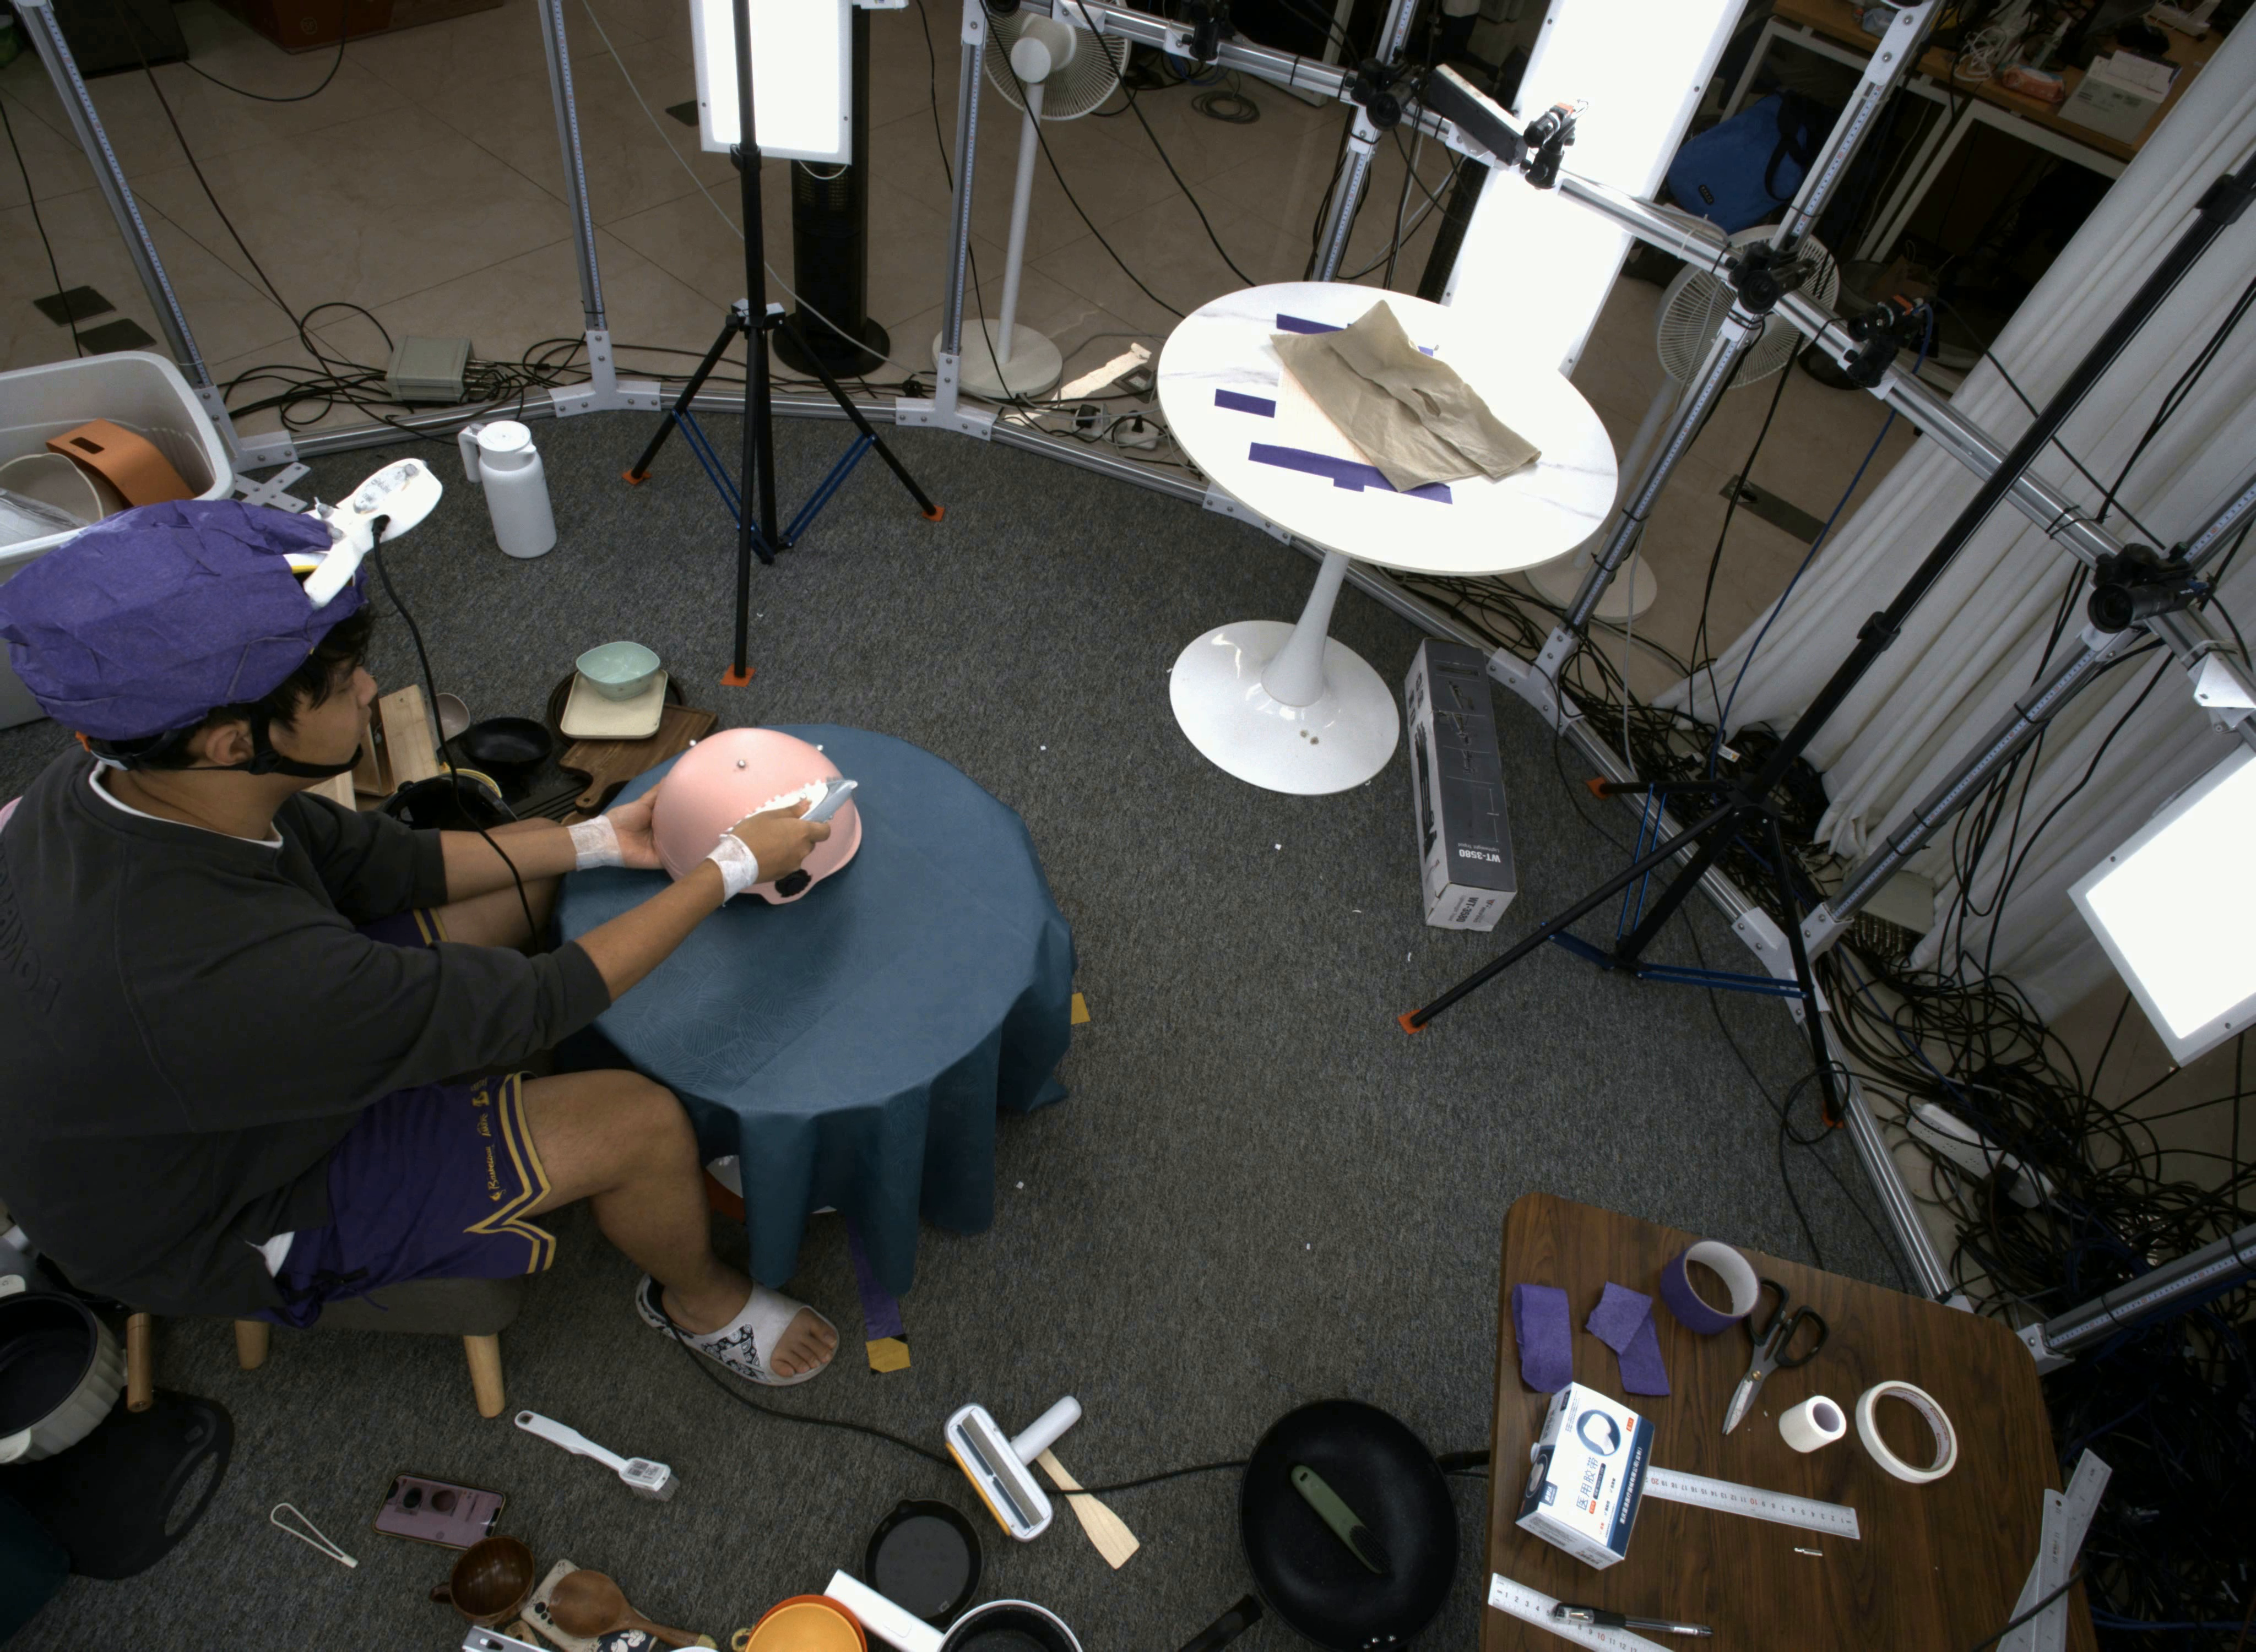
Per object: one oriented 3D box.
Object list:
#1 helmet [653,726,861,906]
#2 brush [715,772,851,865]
[{"bbox_3d":[-0.469,-0.033,1.645,0.268,0.162,0.228,-7,54,-24],"label":"helmet"},{"bbox_3d":[-0.396,-0.016,1.538,0.176,0.063,0.091,-35,25,-28],"label":"brush"}]
